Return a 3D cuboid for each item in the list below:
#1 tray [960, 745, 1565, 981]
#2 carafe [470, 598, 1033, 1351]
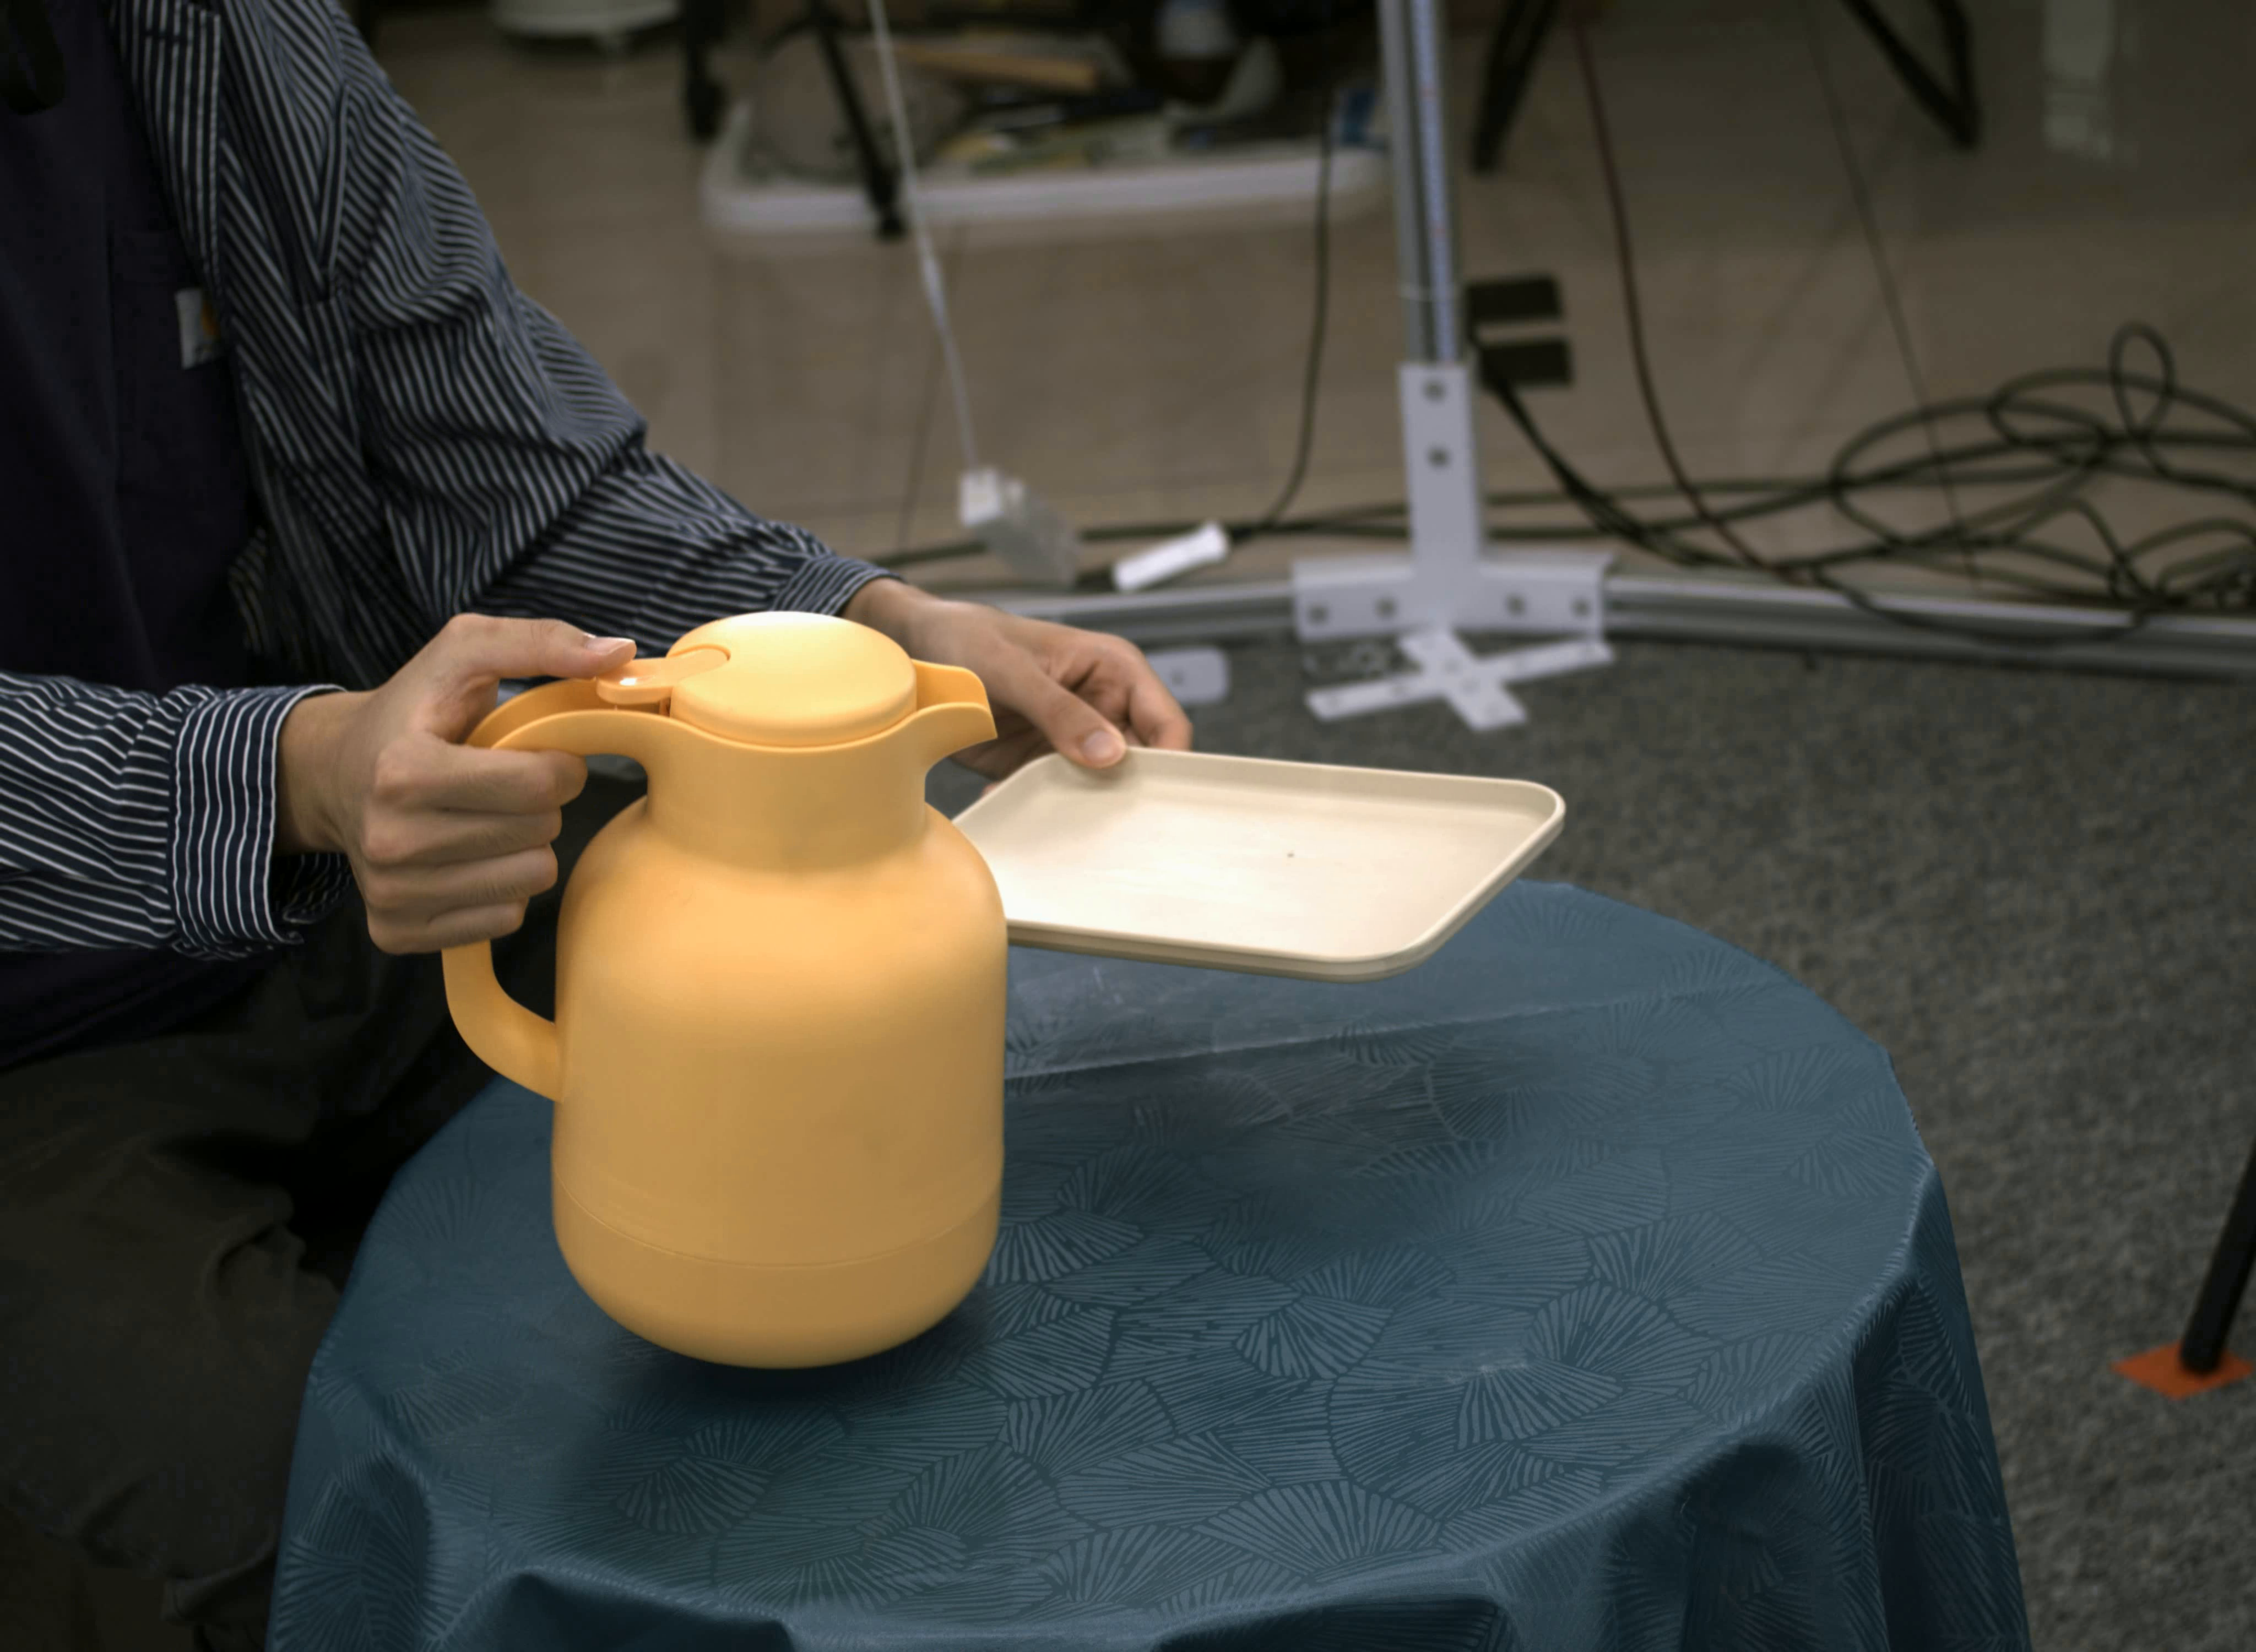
[{"bbox_3d":[0.035,0.014,2.173,0.239,0.018,0.169,6,25,29],"label":"tray"},{"bbox_3d":[-0.134,0.049,2.027,0.202,0.265,0.161,-2,29,-12],"label":"carafe"}]
